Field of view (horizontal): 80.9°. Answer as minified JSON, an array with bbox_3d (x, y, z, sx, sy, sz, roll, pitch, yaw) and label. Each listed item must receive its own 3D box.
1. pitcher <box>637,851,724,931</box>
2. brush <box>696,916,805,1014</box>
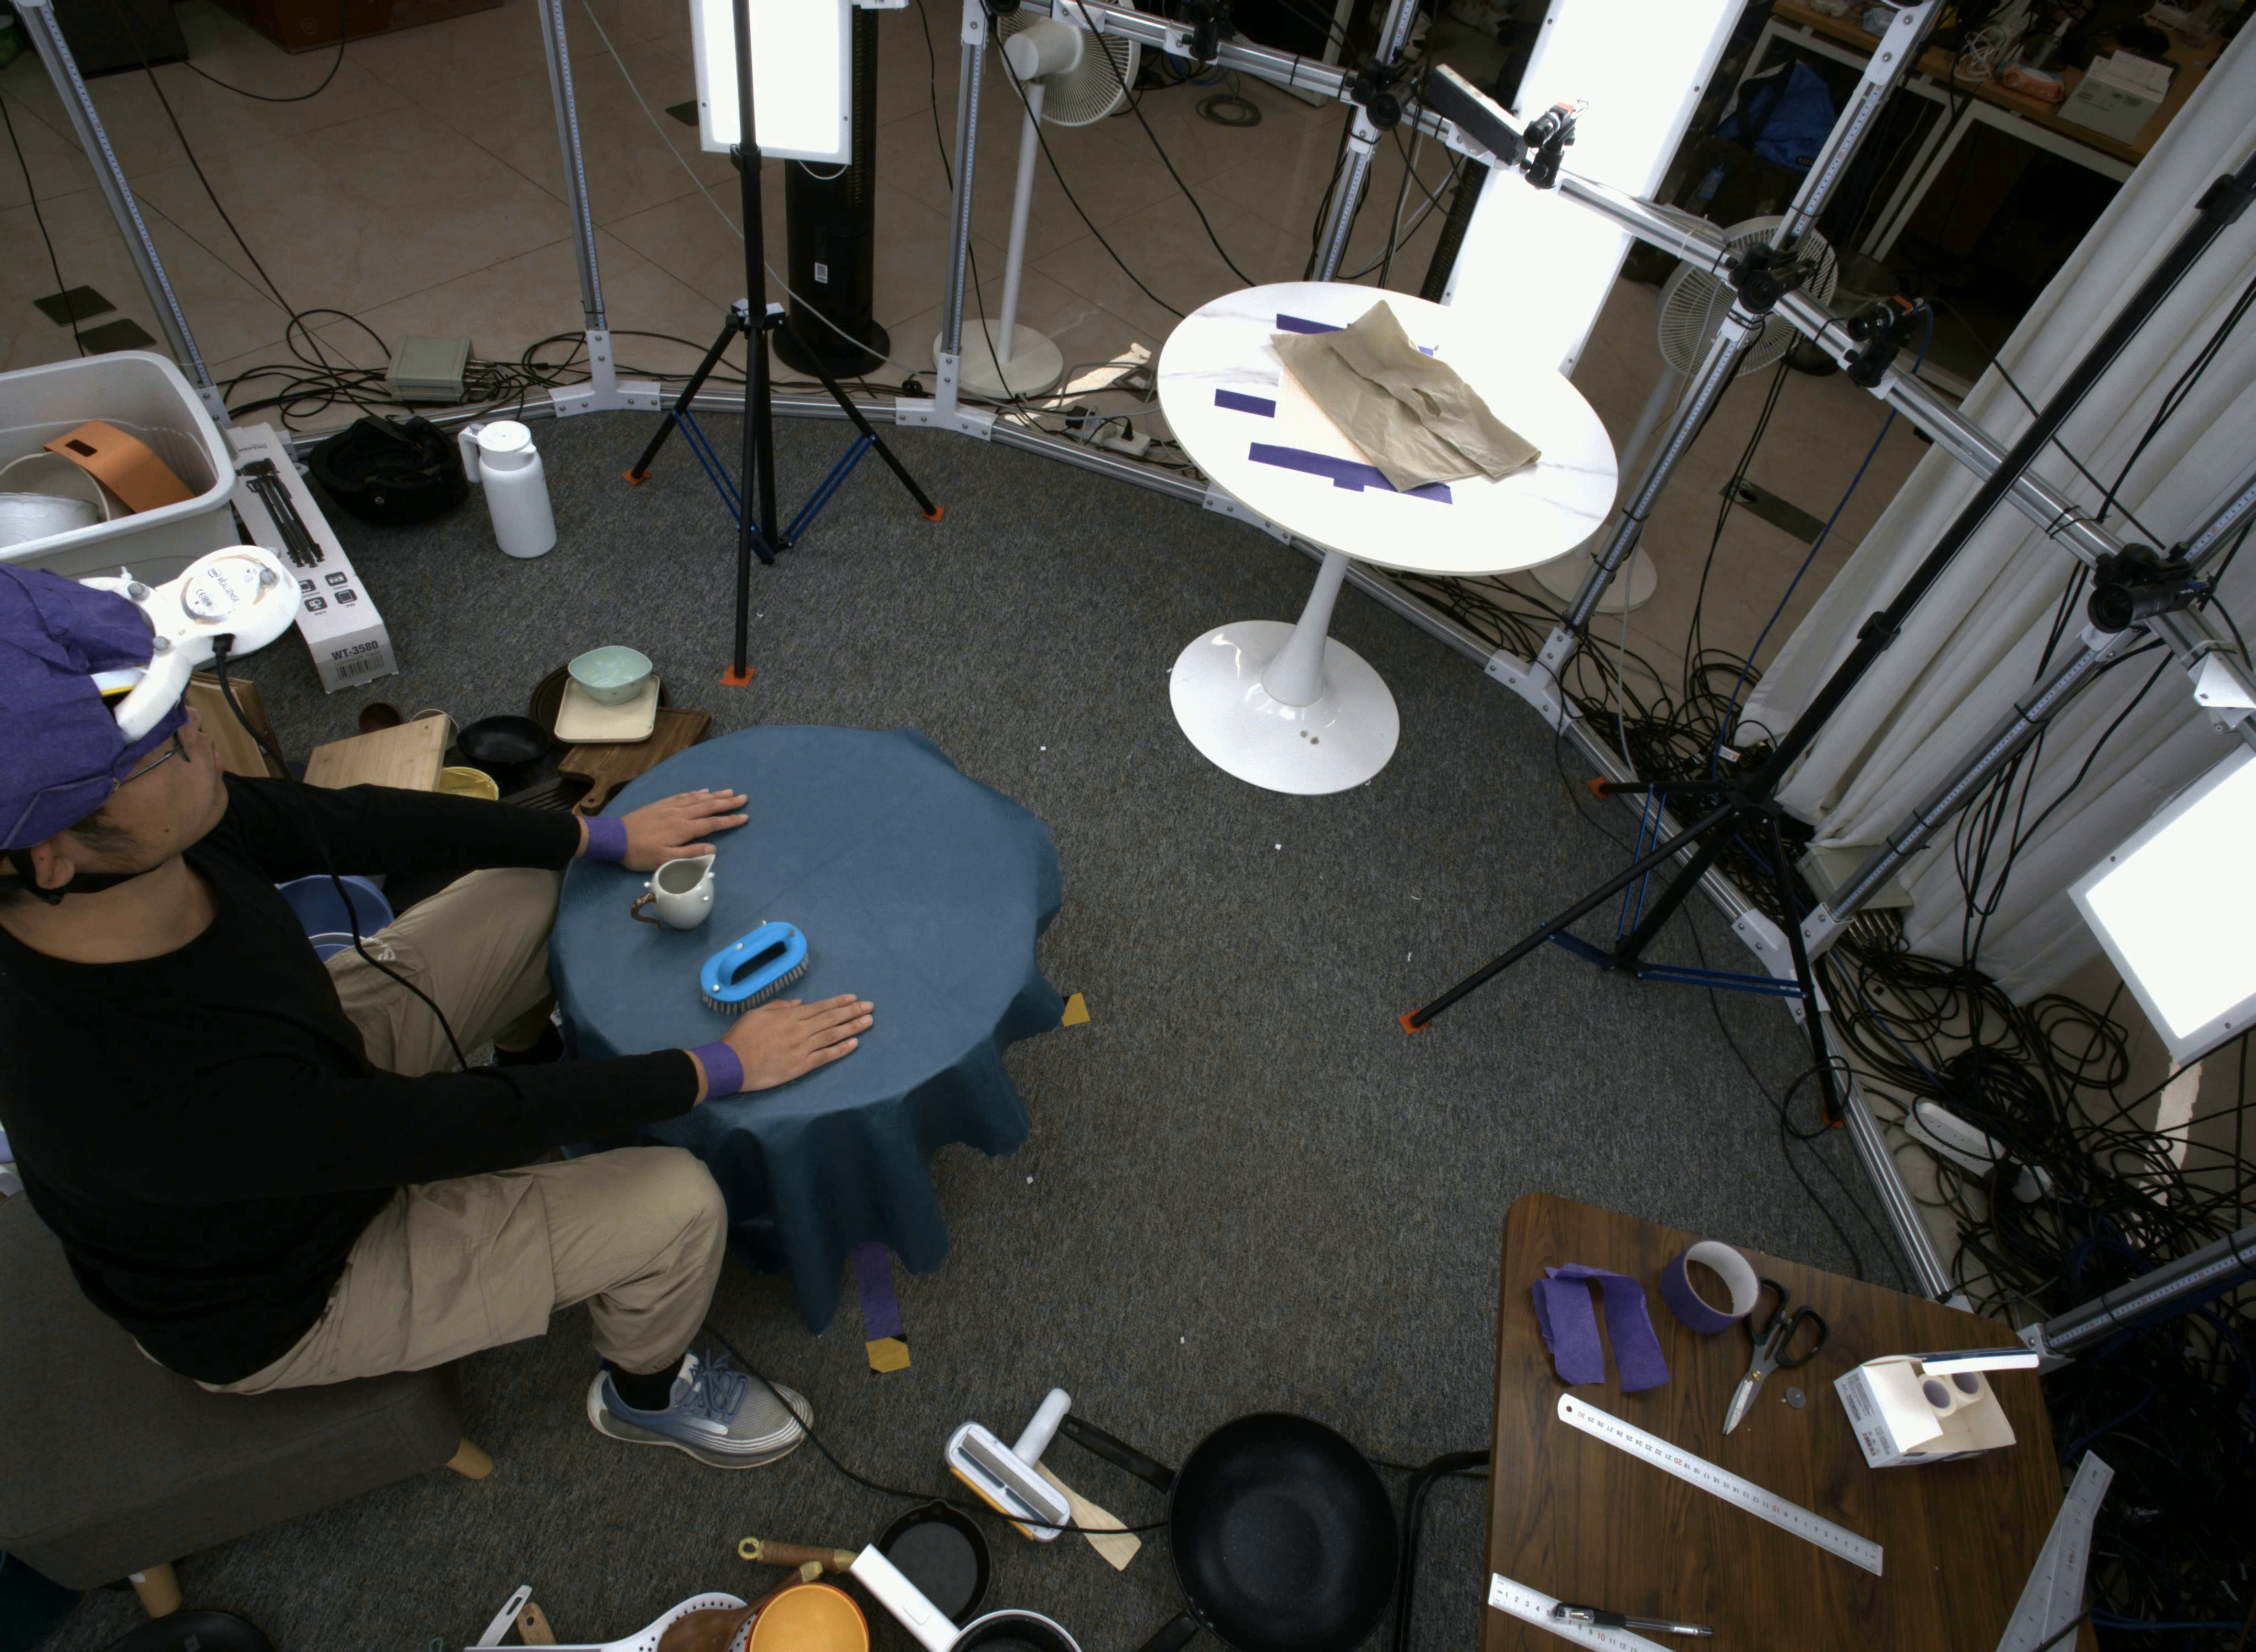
[{"bbox_3d":[-0.545,0.083,1.579,0.120,0.090,0.073,-27,57,-33],"label":"pitcher"},{"bbox_3d":[-0.453,0.159,1.559,0.142,0.065,0.083,-34,71,-31],"label":"brush"}]
